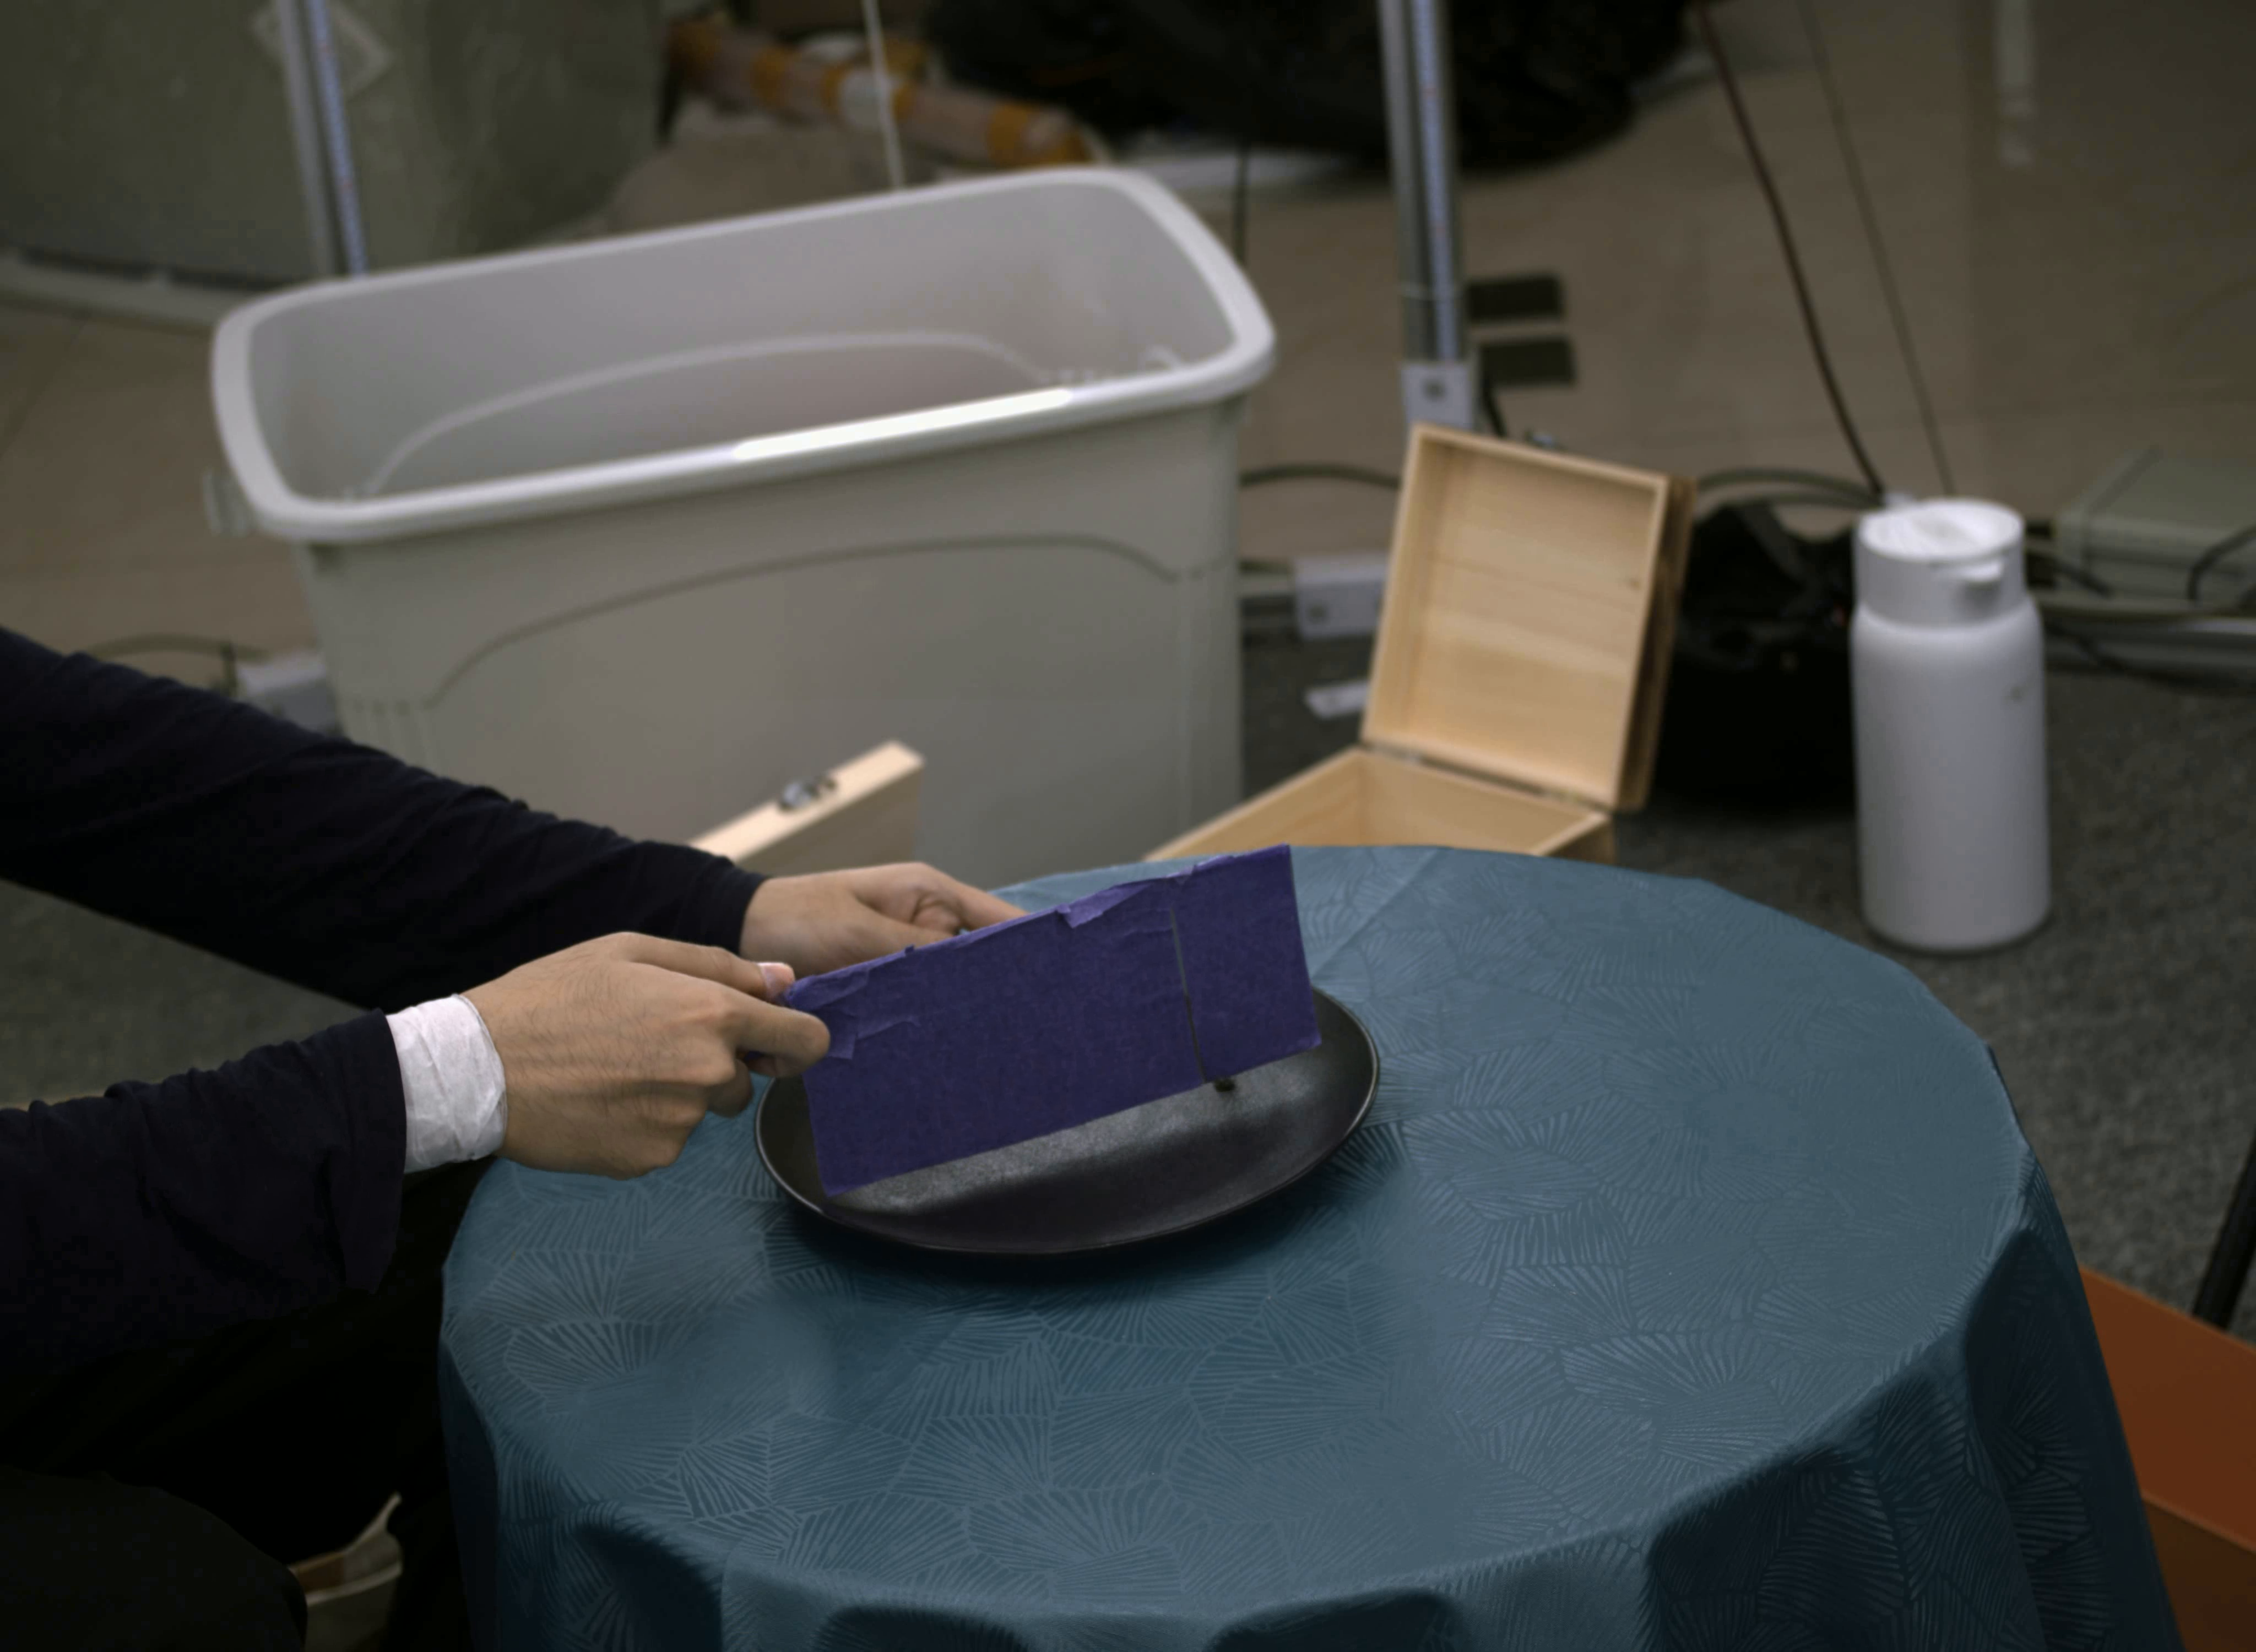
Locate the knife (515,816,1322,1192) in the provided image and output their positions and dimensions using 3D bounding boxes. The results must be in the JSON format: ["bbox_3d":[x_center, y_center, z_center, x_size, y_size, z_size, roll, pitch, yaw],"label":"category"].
[{"bbox_3d":[-0.072,0.085,2.130,0.314,0.105,0.032,-16,24,-15],"label":"knife"}]

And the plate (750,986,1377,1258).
[{"bbox_3d":[-0.024,0.112,2.185,0.244,0.024,0.241,-5,25,2],"label":"plate"}]
